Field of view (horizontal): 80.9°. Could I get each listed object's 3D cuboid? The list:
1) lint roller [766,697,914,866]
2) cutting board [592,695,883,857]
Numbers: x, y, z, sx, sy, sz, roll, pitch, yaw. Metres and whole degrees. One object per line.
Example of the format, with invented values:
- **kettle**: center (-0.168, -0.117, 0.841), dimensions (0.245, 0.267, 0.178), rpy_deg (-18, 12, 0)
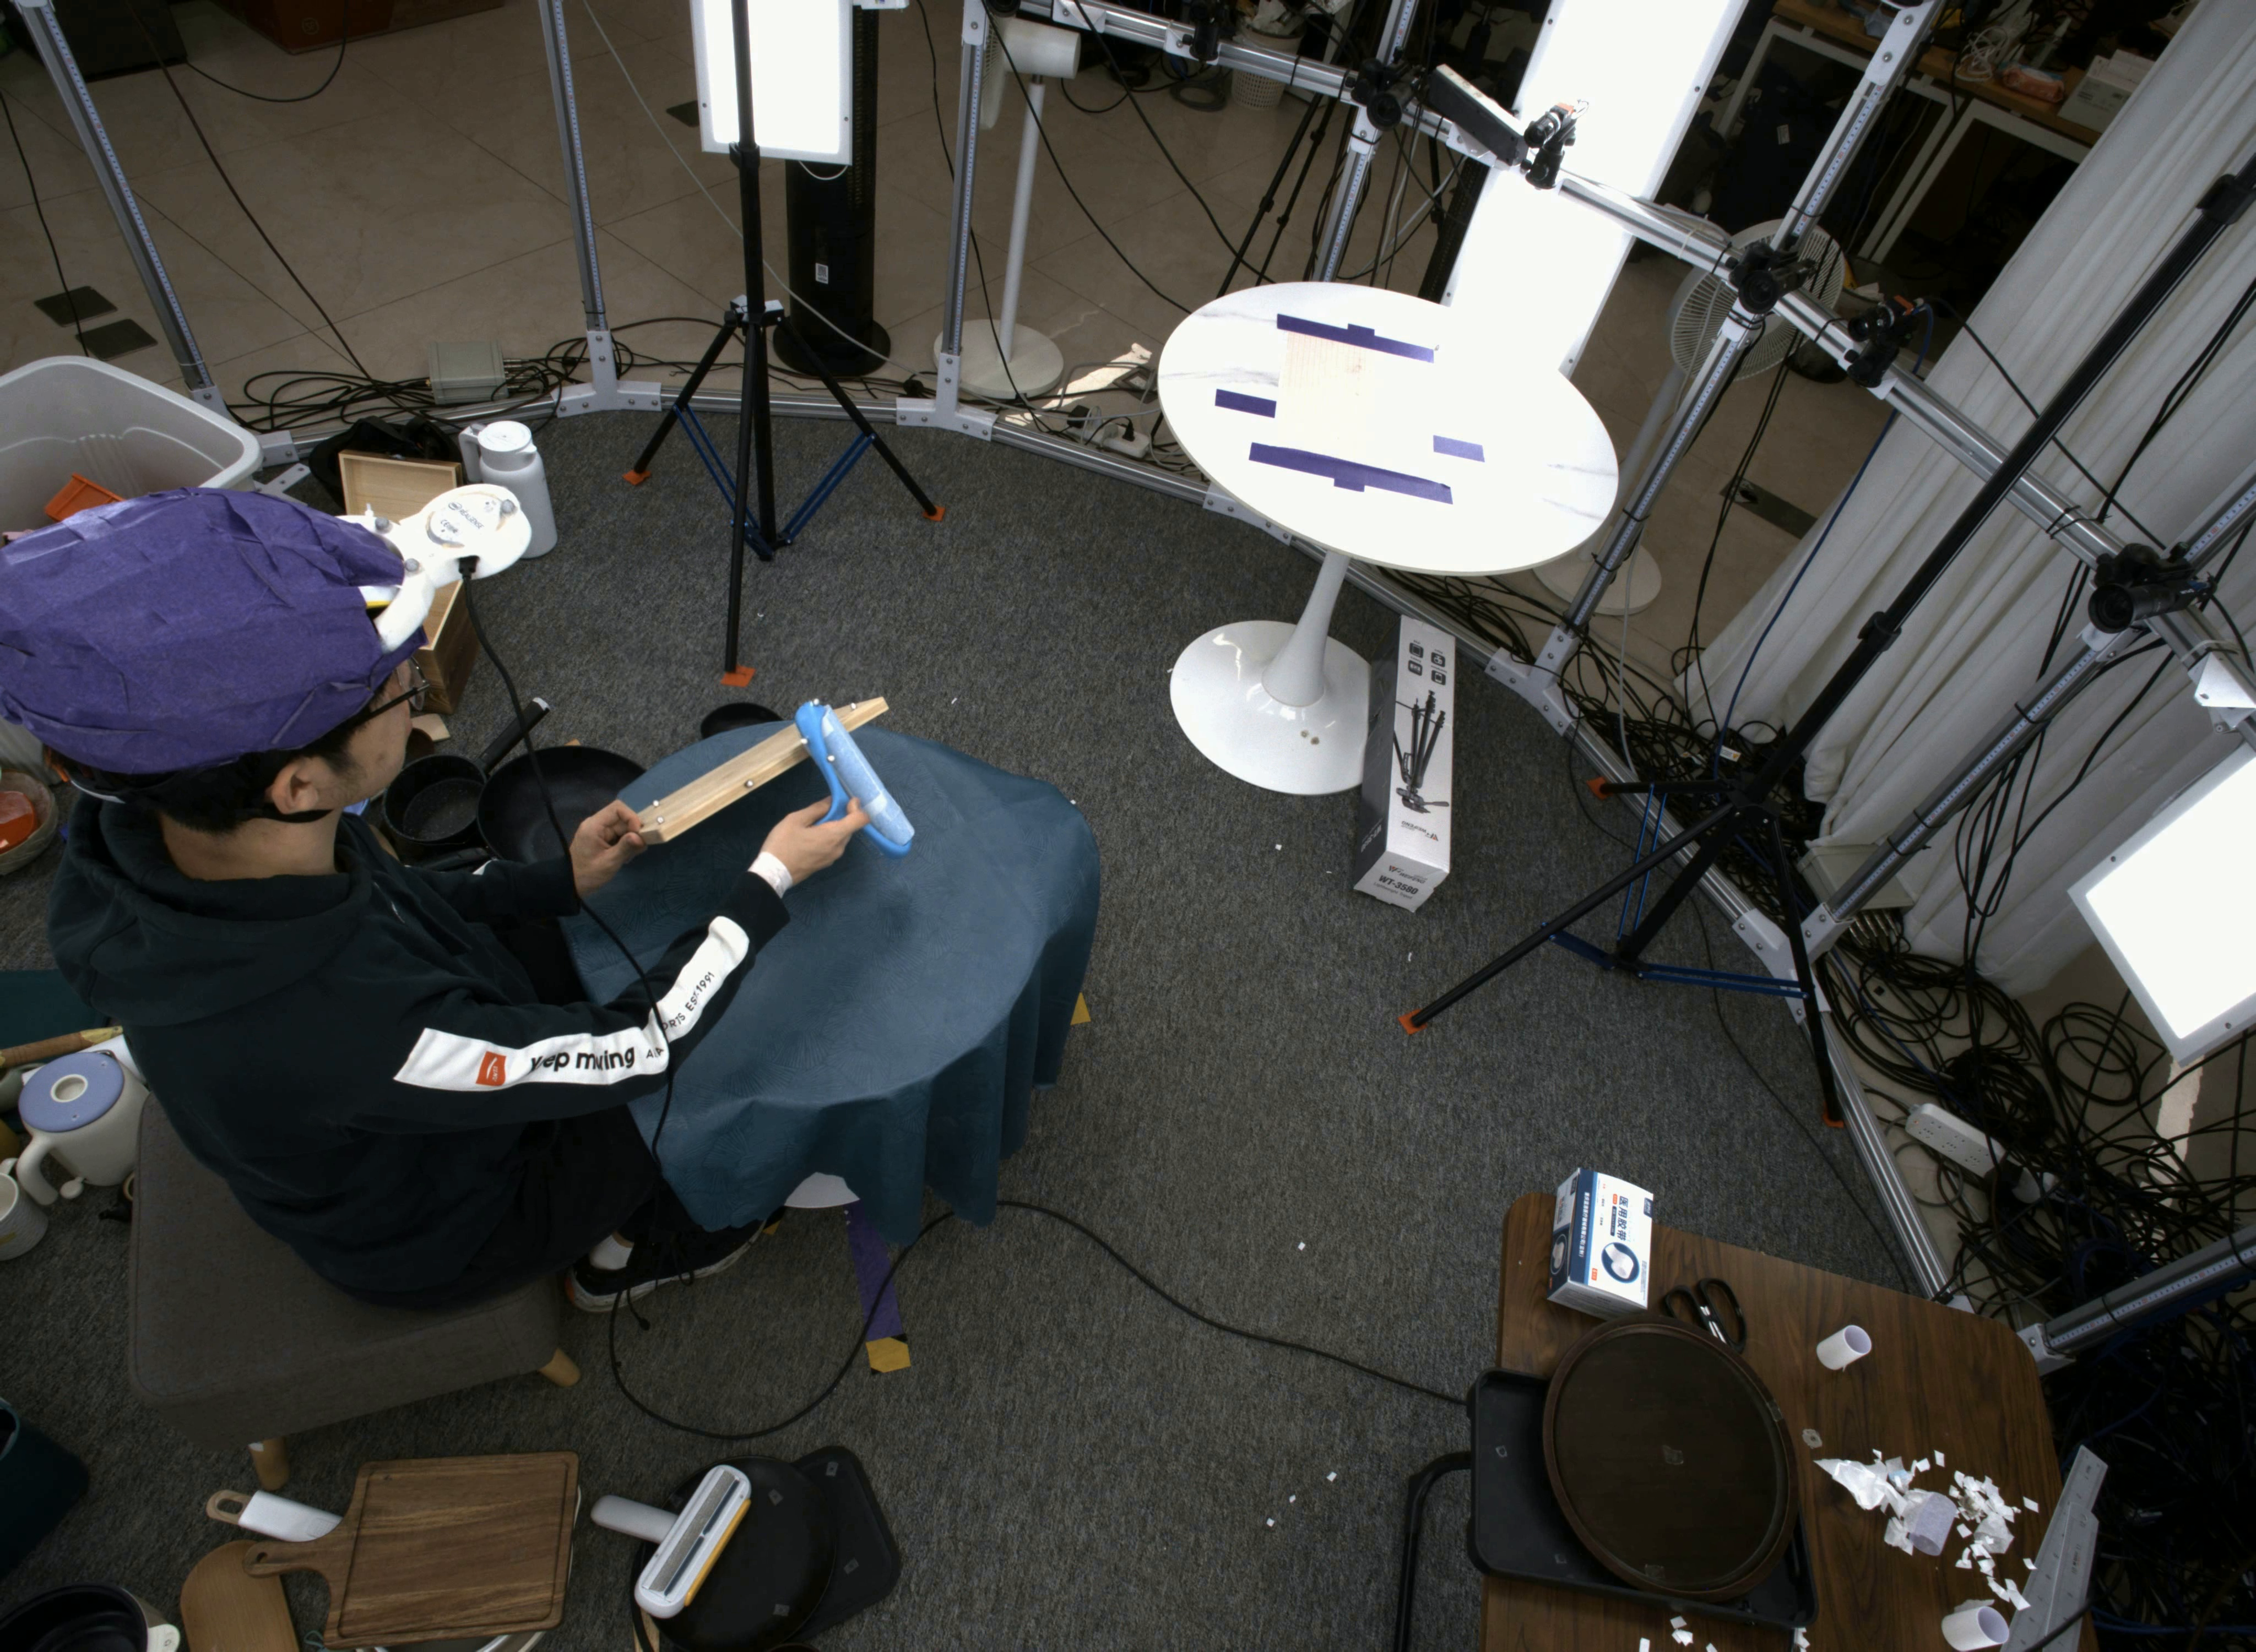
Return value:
- **lint roller**: center (-0.359, -0.020, 1.551), dimensions (0.066, 0.237, 0.179), rpy_deg (-5, 40, 36)
- **cutting board**: center (-0.495, -0.065, 1.631), dimensions (0.349, 0.243, 0.024), rpy_deg (-38, 109, -36)
